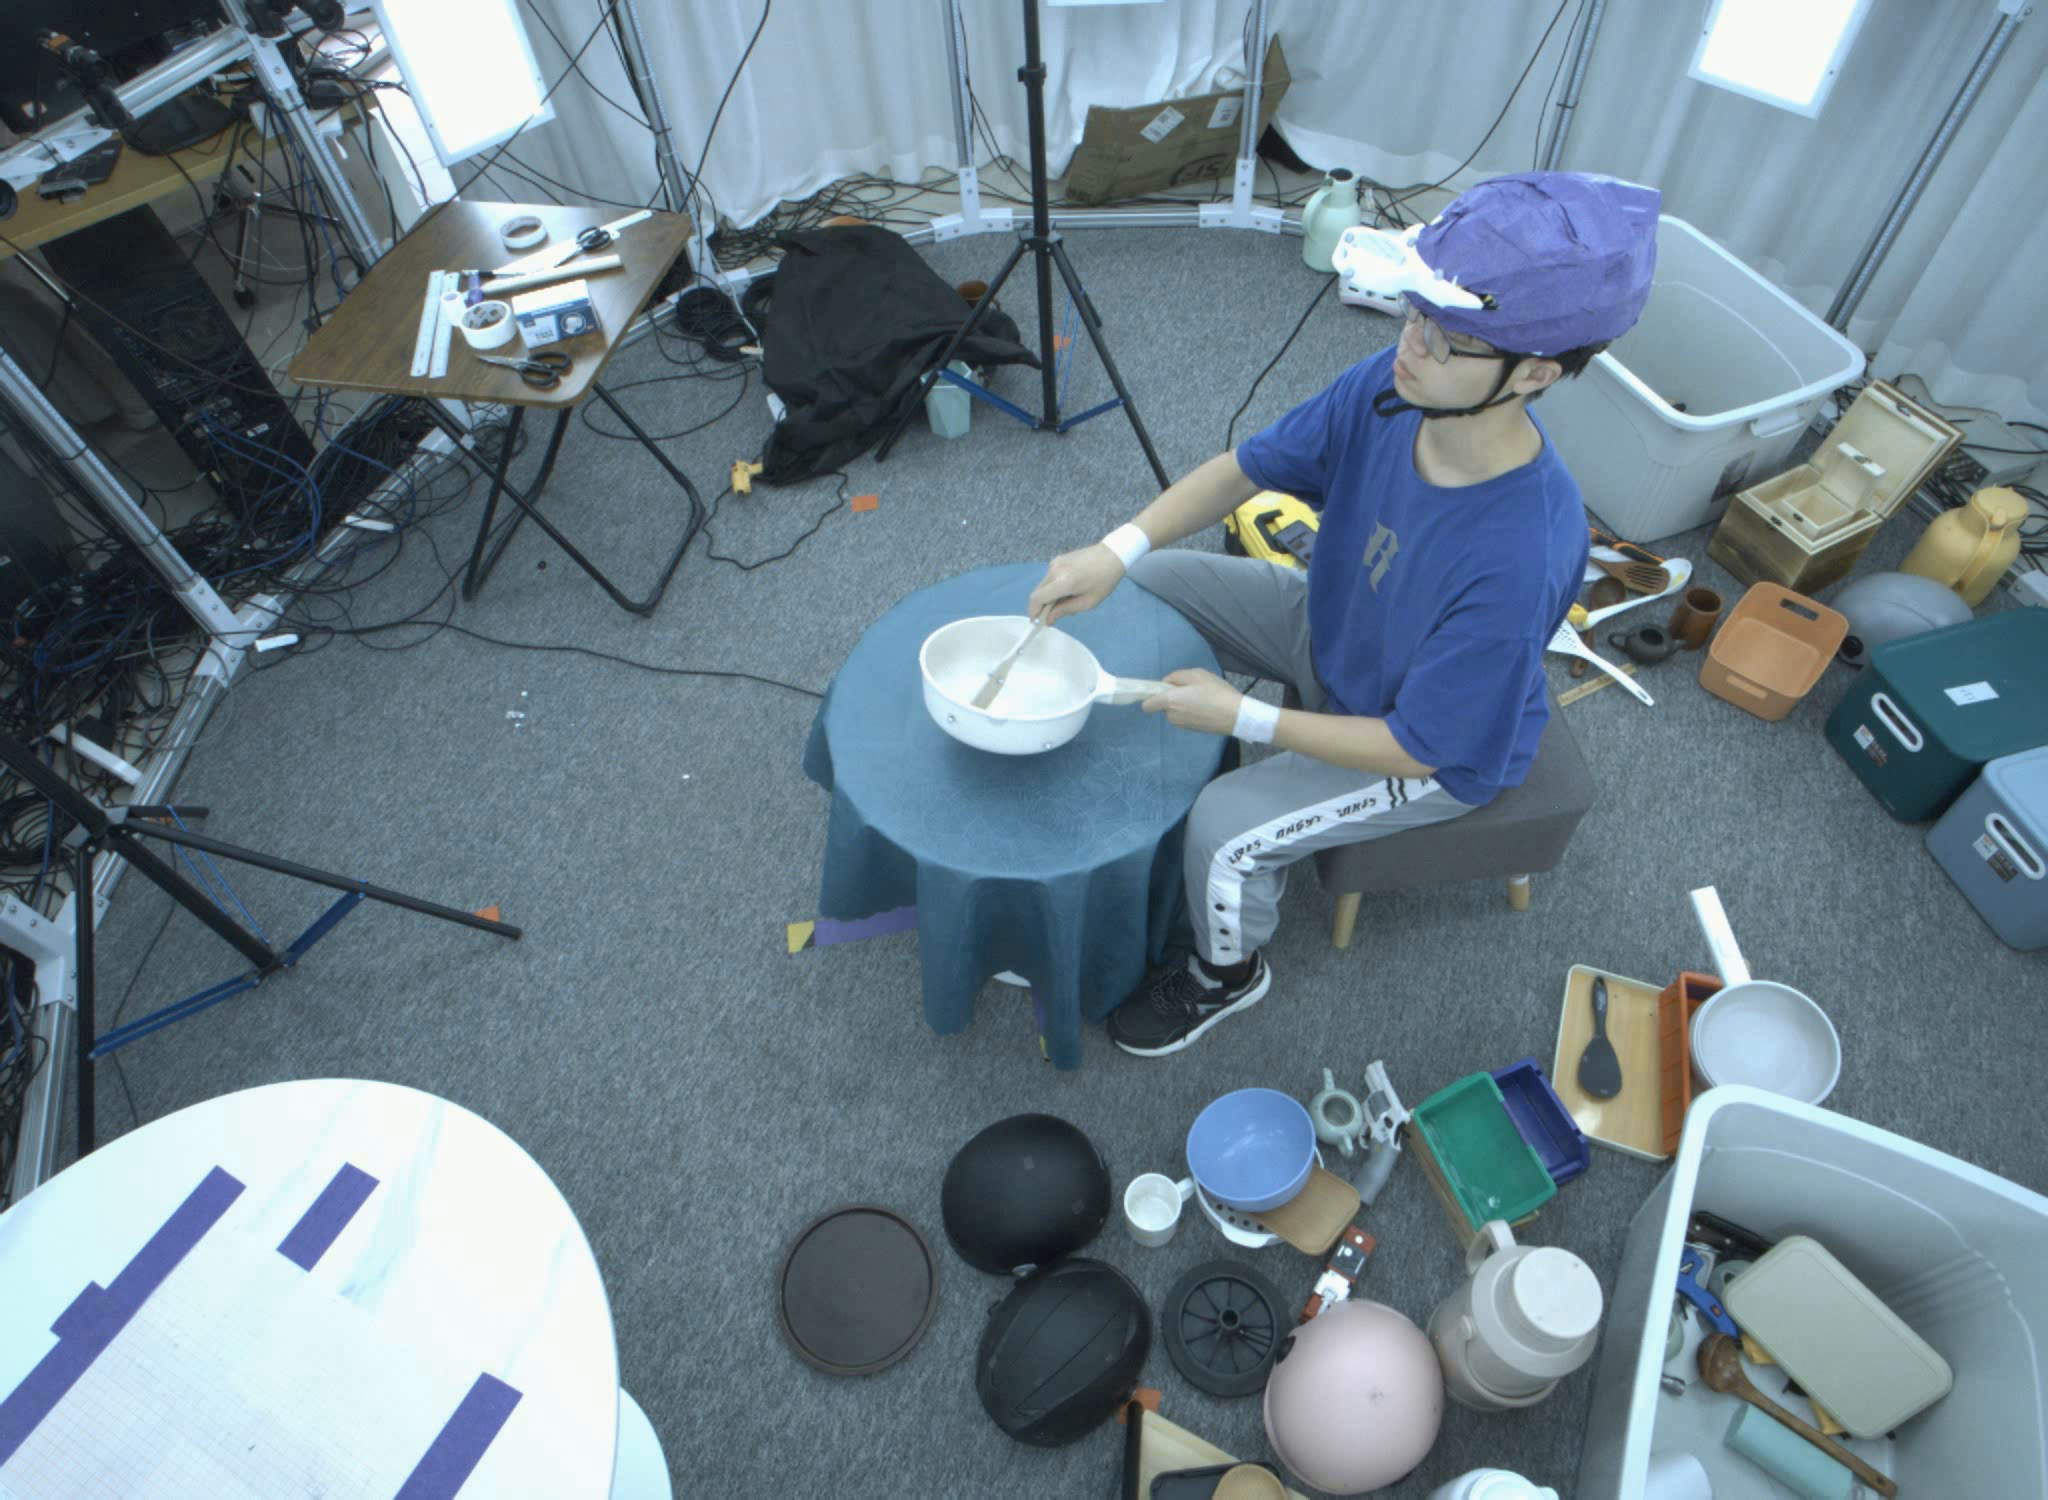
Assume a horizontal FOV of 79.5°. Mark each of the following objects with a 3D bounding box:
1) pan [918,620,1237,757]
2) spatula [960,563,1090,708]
[{"bbox_3d":[0.068,-0.070,1.690,0.435,0.102,0.261,11,35,-1],"label":"pan"},{"bbox_3d":[0.003,-0.159,1.690,0.010,0.073,0.294,31,65,20],"label":"spatula"}]
